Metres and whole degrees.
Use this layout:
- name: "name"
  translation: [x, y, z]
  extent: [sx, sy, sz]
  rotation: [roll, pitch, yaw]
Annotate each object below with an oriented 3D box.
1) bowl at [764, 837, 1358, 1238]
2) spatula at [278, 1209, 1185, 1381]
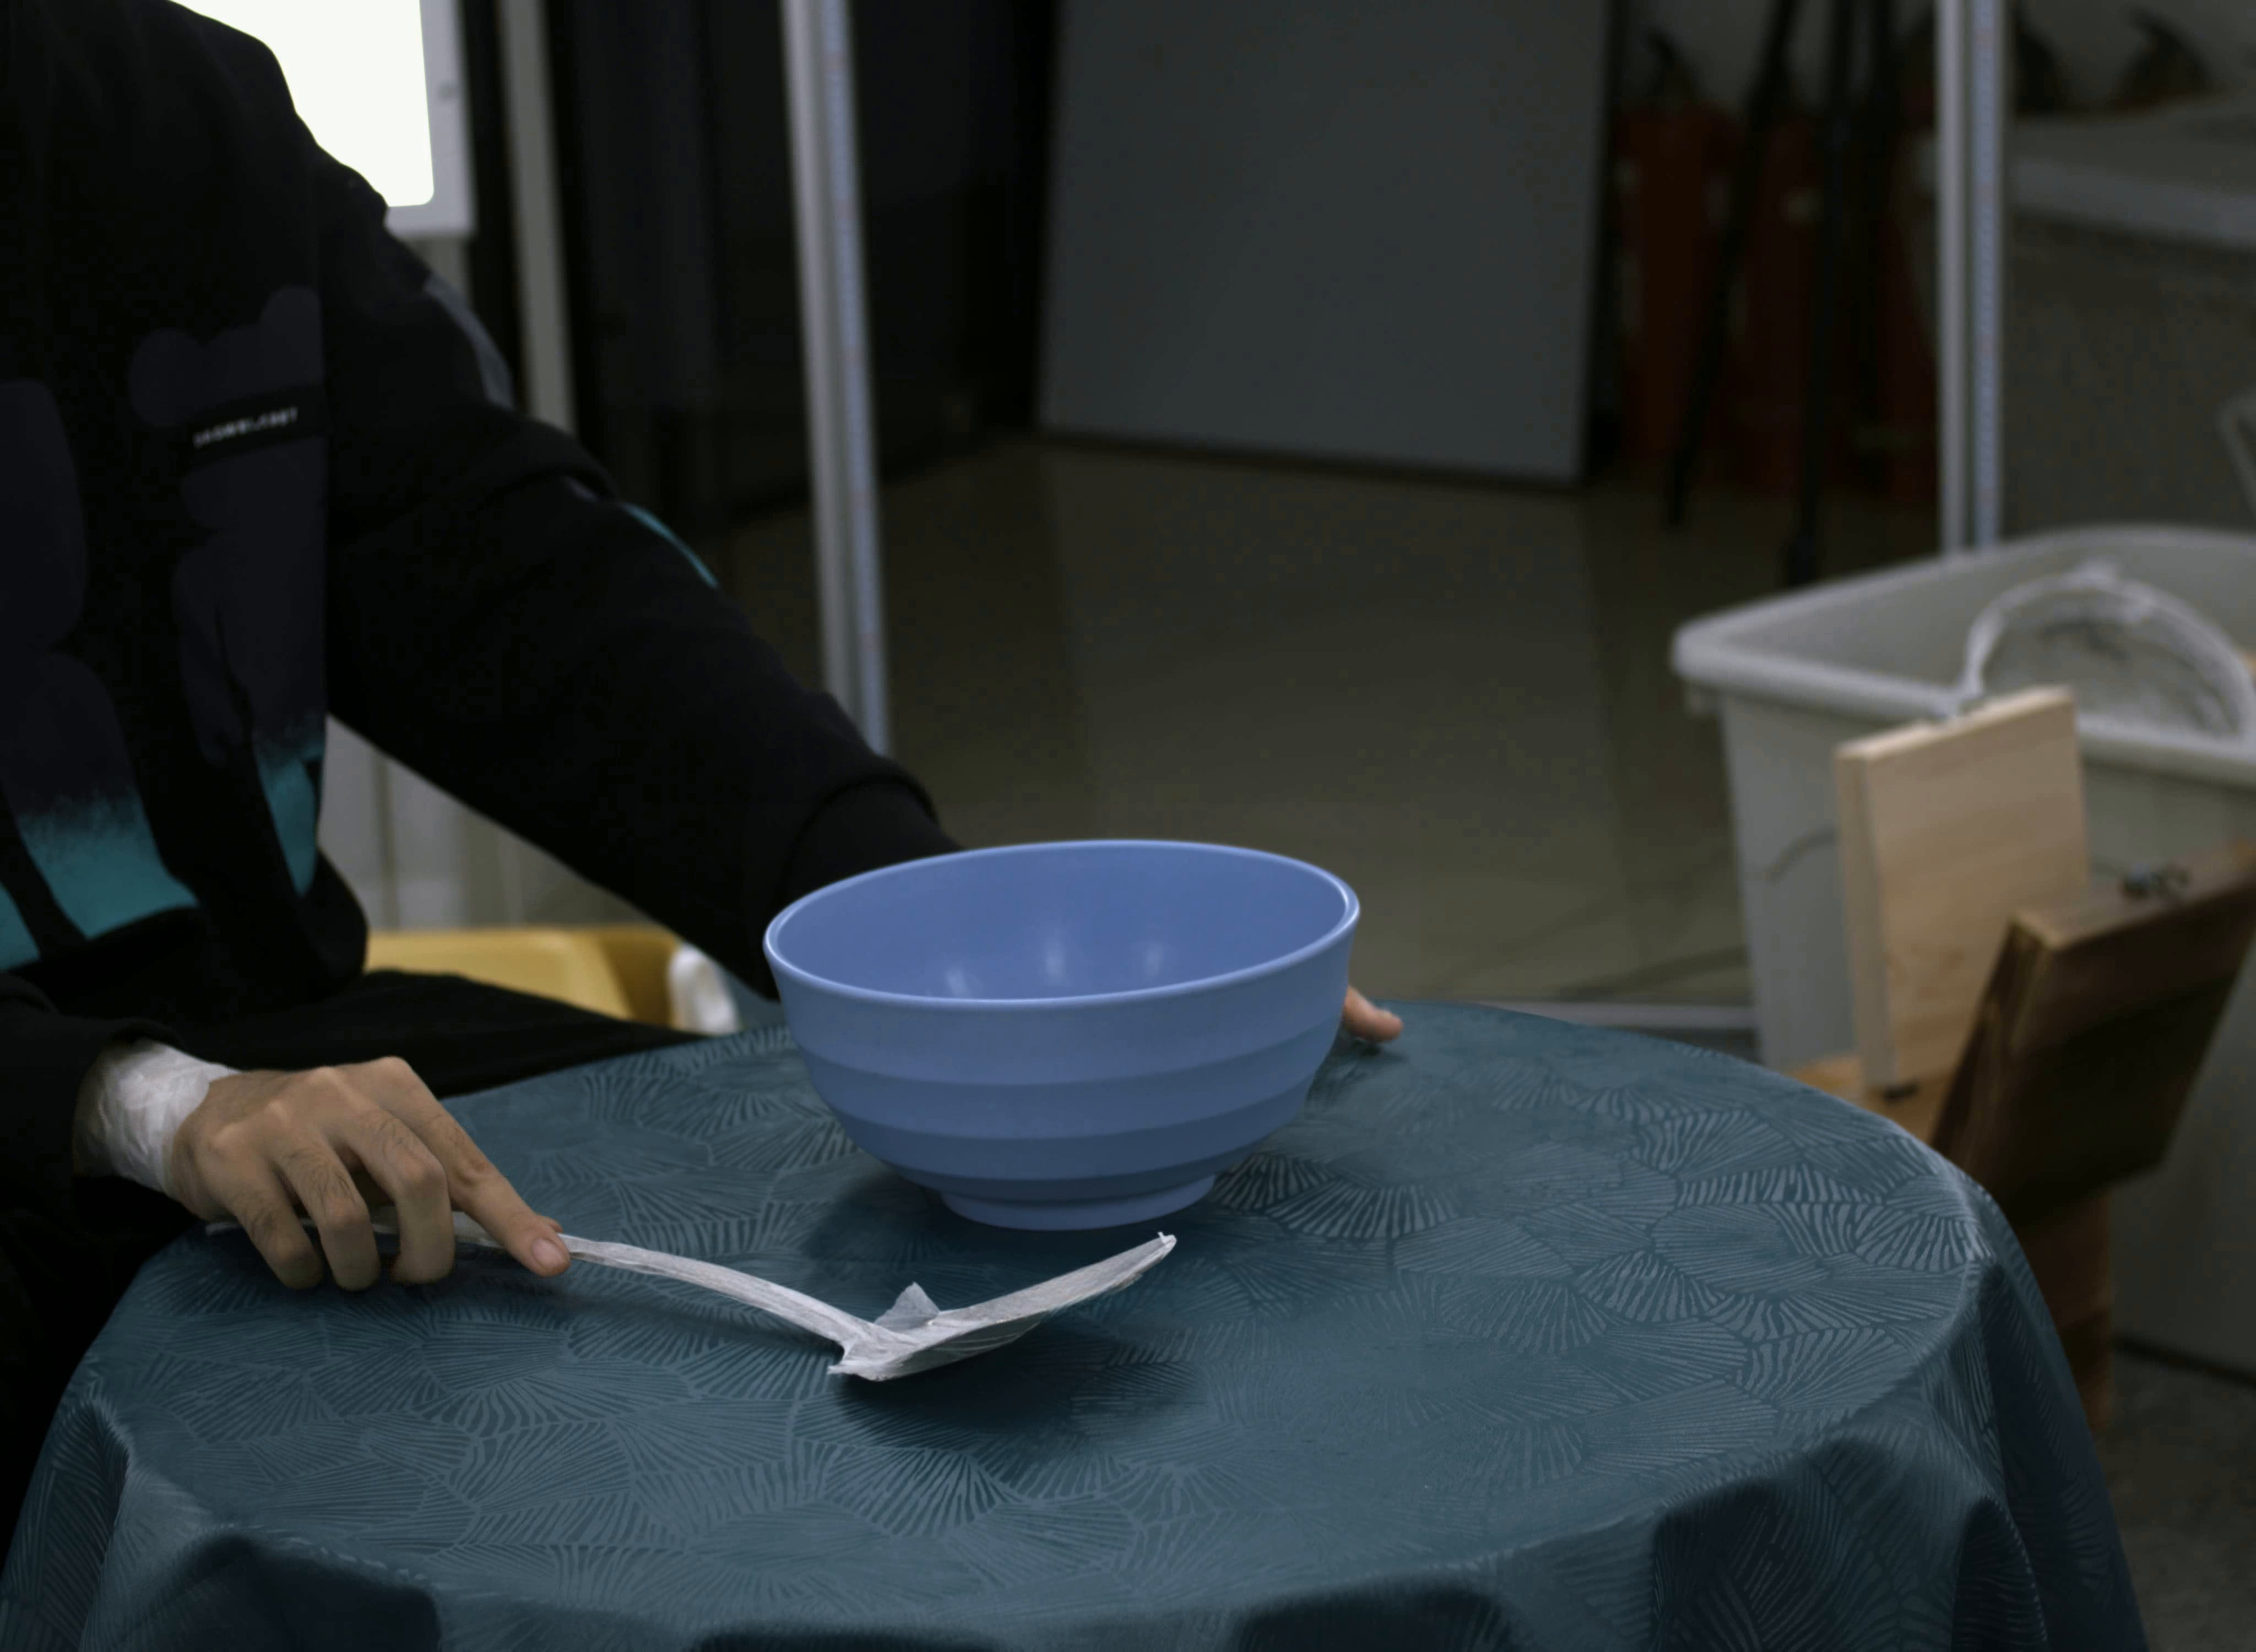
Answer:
- name: "bowl"
  translation: [-0.018, 0.075, 1.767]
  extent: [0.194, 0.096, 0.197]
  rotation: [-5, 15, 0]
- name: "spatula"
  translation: [-0.143, 0.134, 1.684]
  extent: [0.367, 0.045, 0.097]
  rotation: [7, 19, 37]
